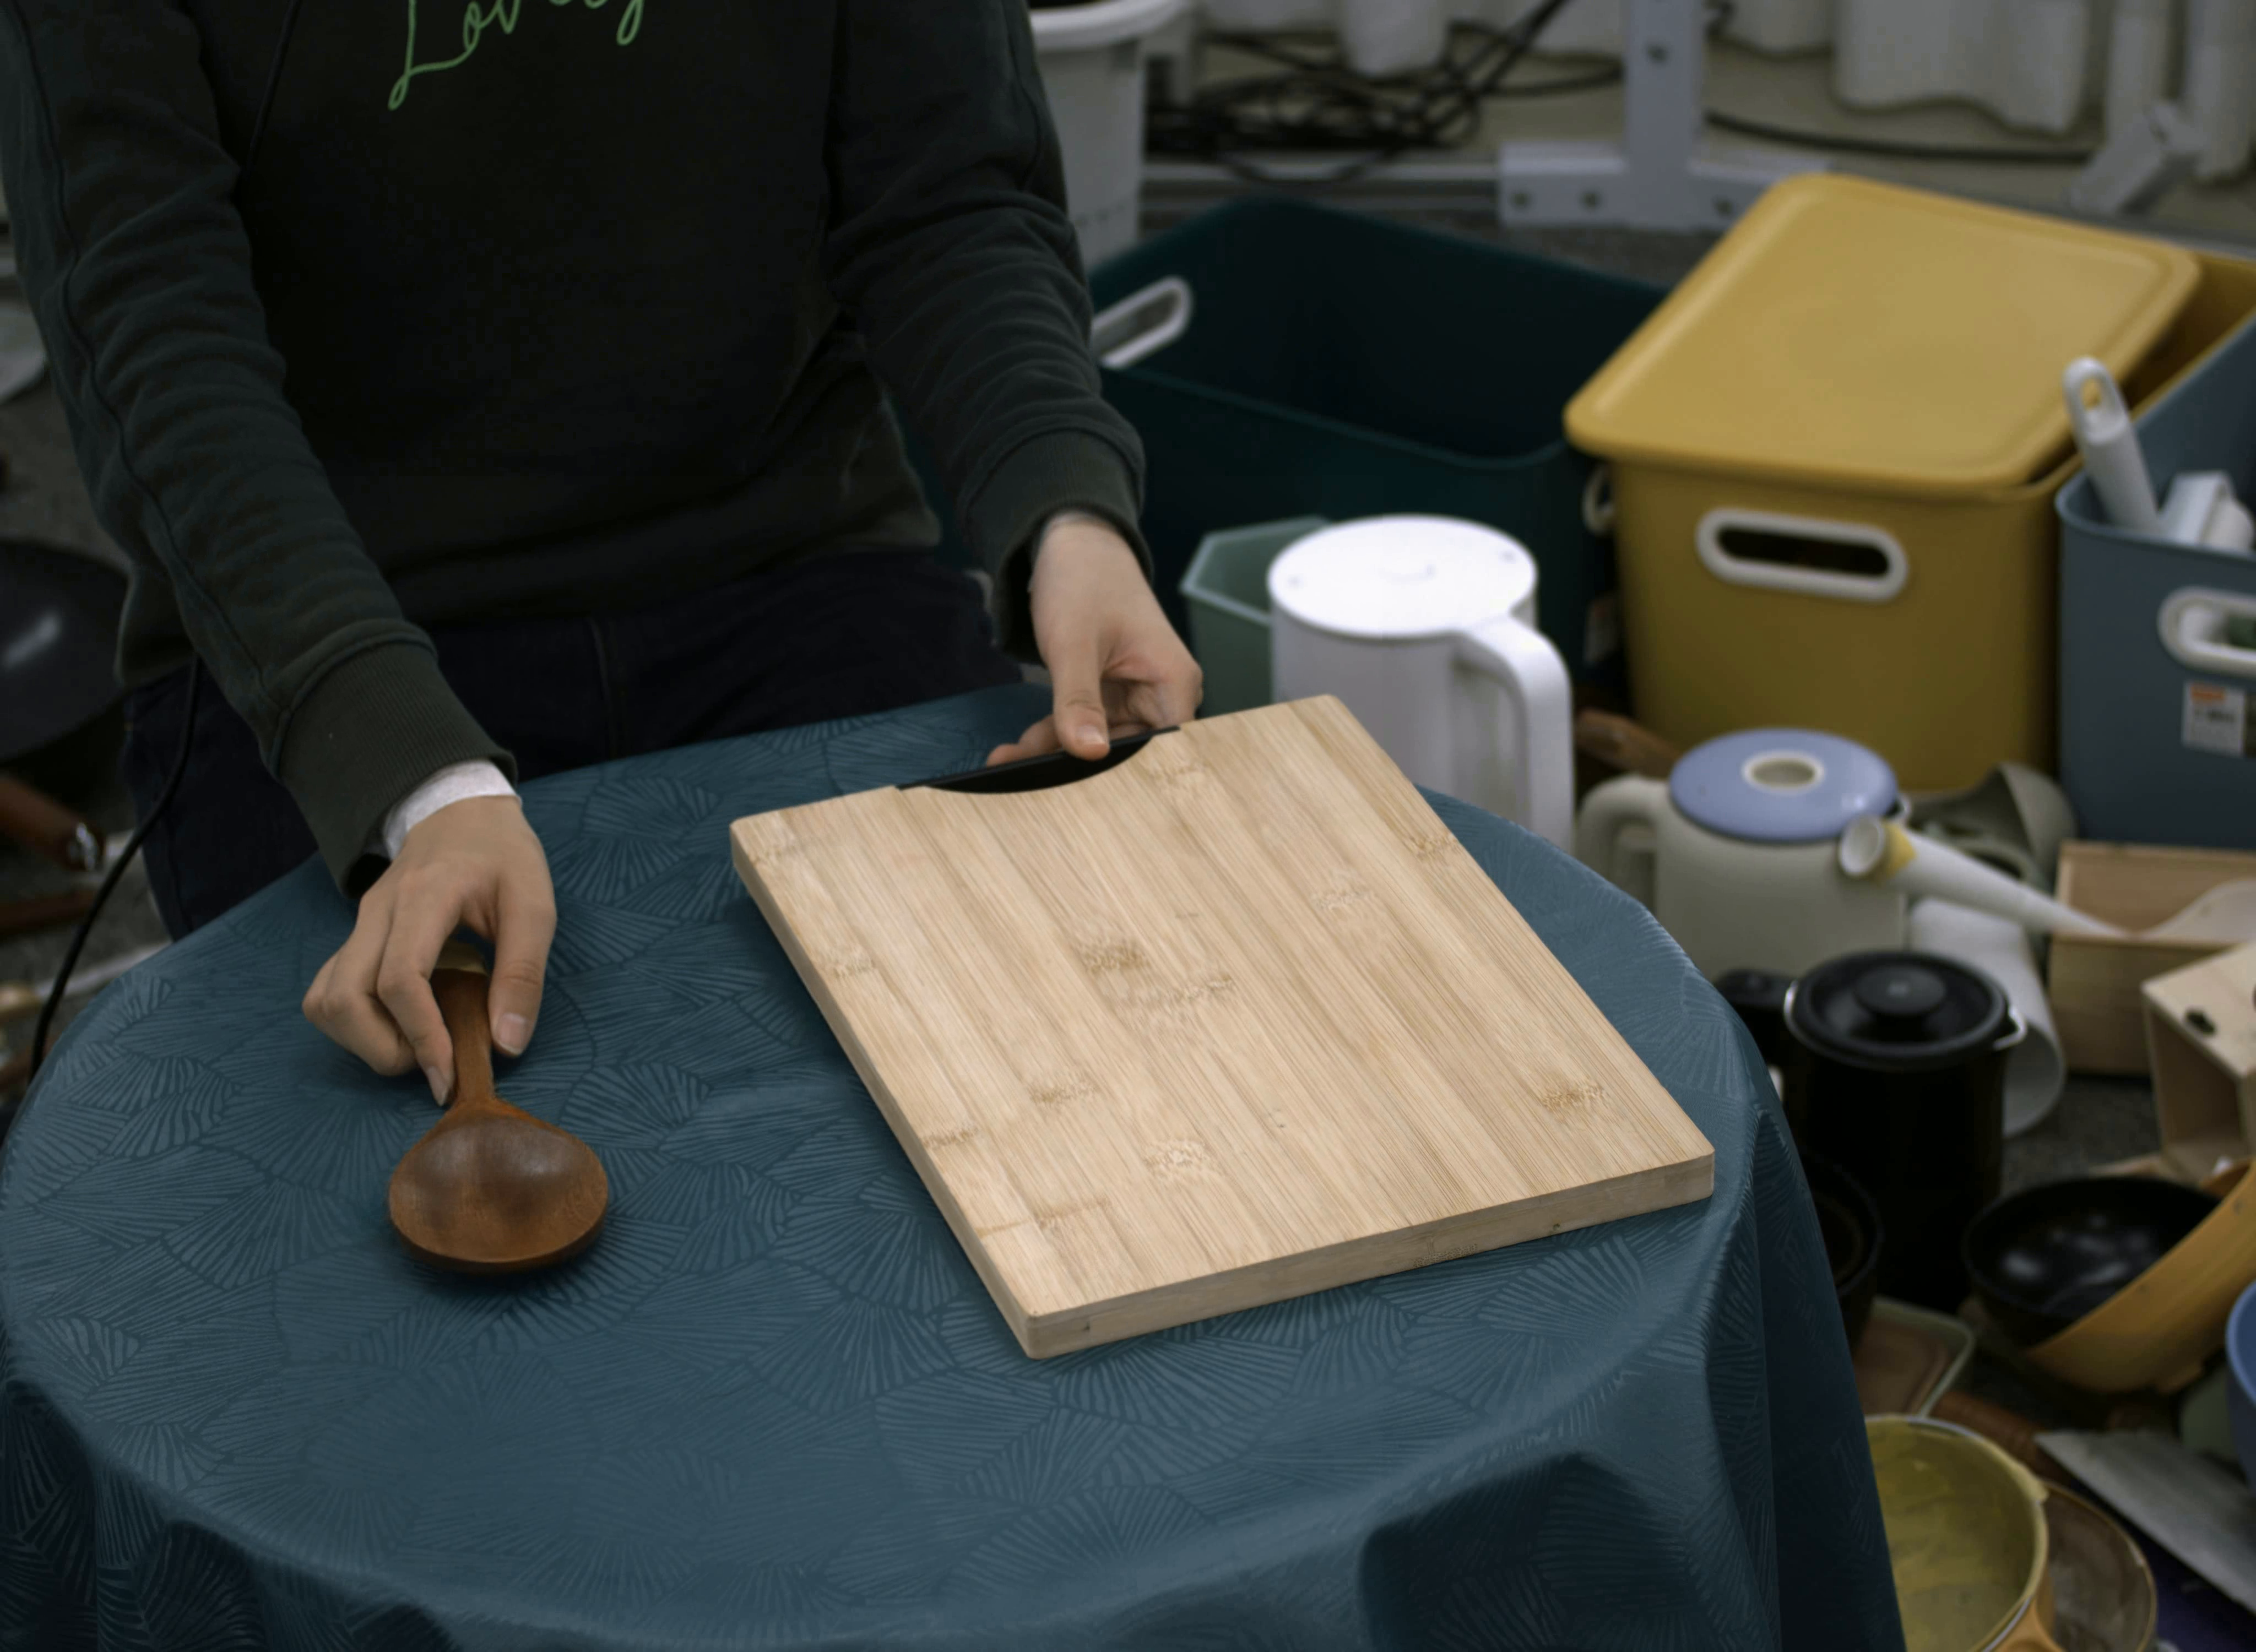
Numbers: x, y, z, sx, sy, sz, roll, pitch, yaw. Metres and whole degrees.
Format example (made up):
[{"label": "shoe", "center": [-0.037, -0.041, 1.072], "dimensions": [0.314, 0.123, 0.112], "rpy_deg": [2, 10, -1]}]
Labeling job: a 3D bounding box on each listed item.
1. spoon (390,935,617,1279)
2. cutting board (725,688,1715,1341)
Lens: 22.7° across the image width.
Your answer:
[{"label": "spoon", "center": [-0.219, 0.096, 1.908], "dimensions": [0.075, 0.017, 0.218], "rpy_deg": [-8, 30, -9]}, {"label": "cutting board", "center": [0.022, 0.058, 1.949], "dimensions": [0.251, 0.023, 0.352], "rpy_deg": [-12, 31, -17]}]
